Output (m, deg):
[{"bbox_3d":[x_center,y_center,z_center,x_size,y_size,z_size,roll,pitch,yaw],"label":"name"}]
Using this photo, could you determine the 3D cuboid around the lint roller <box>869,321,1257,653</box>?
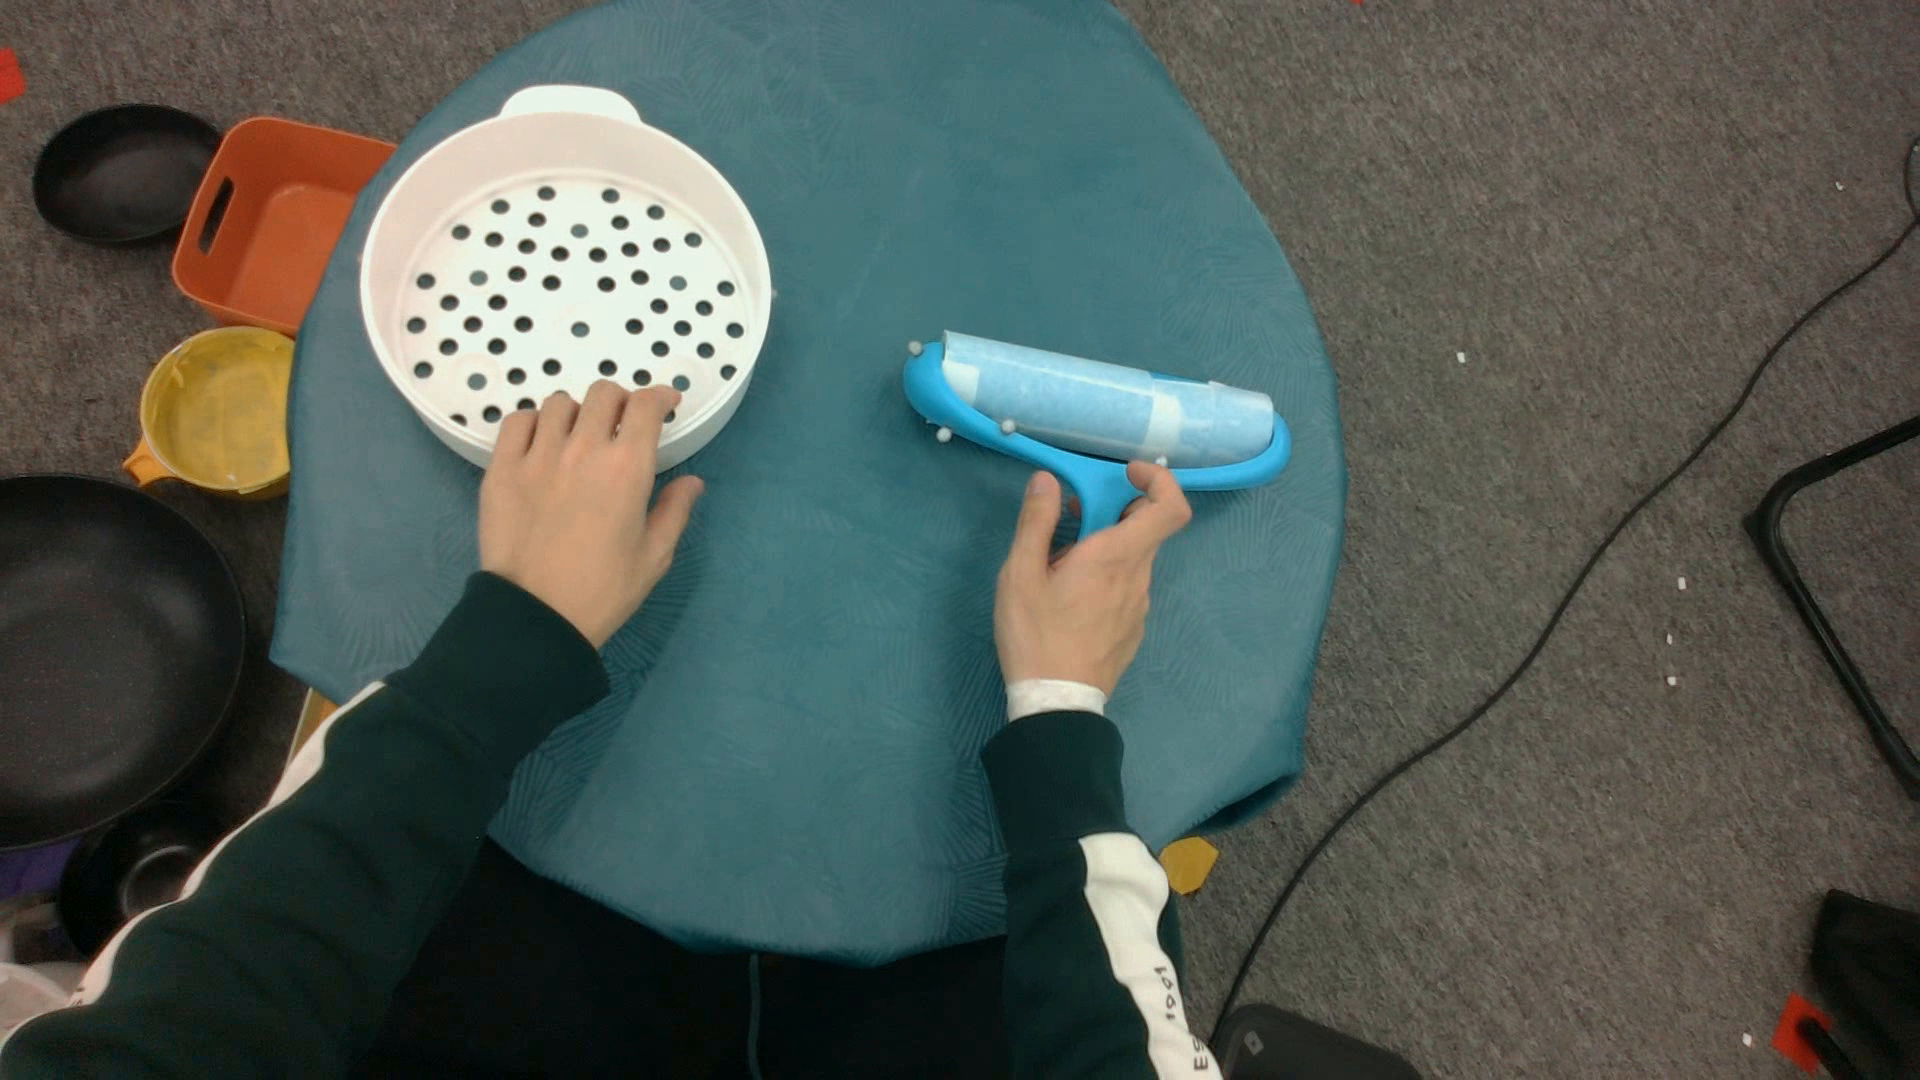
[{"bbox_3d":[0.061,-0.031,0.774,0.229,0.067,0.181,5,70,-13],"label":"lint roller"}]

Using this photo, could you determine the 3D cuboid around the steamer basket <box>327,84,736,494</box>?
[{"bbox_3d":[-0.223,-0.126,0.734,0.202,0.069,0.231,-3,75,-13],"label":"steamer basket"}]
